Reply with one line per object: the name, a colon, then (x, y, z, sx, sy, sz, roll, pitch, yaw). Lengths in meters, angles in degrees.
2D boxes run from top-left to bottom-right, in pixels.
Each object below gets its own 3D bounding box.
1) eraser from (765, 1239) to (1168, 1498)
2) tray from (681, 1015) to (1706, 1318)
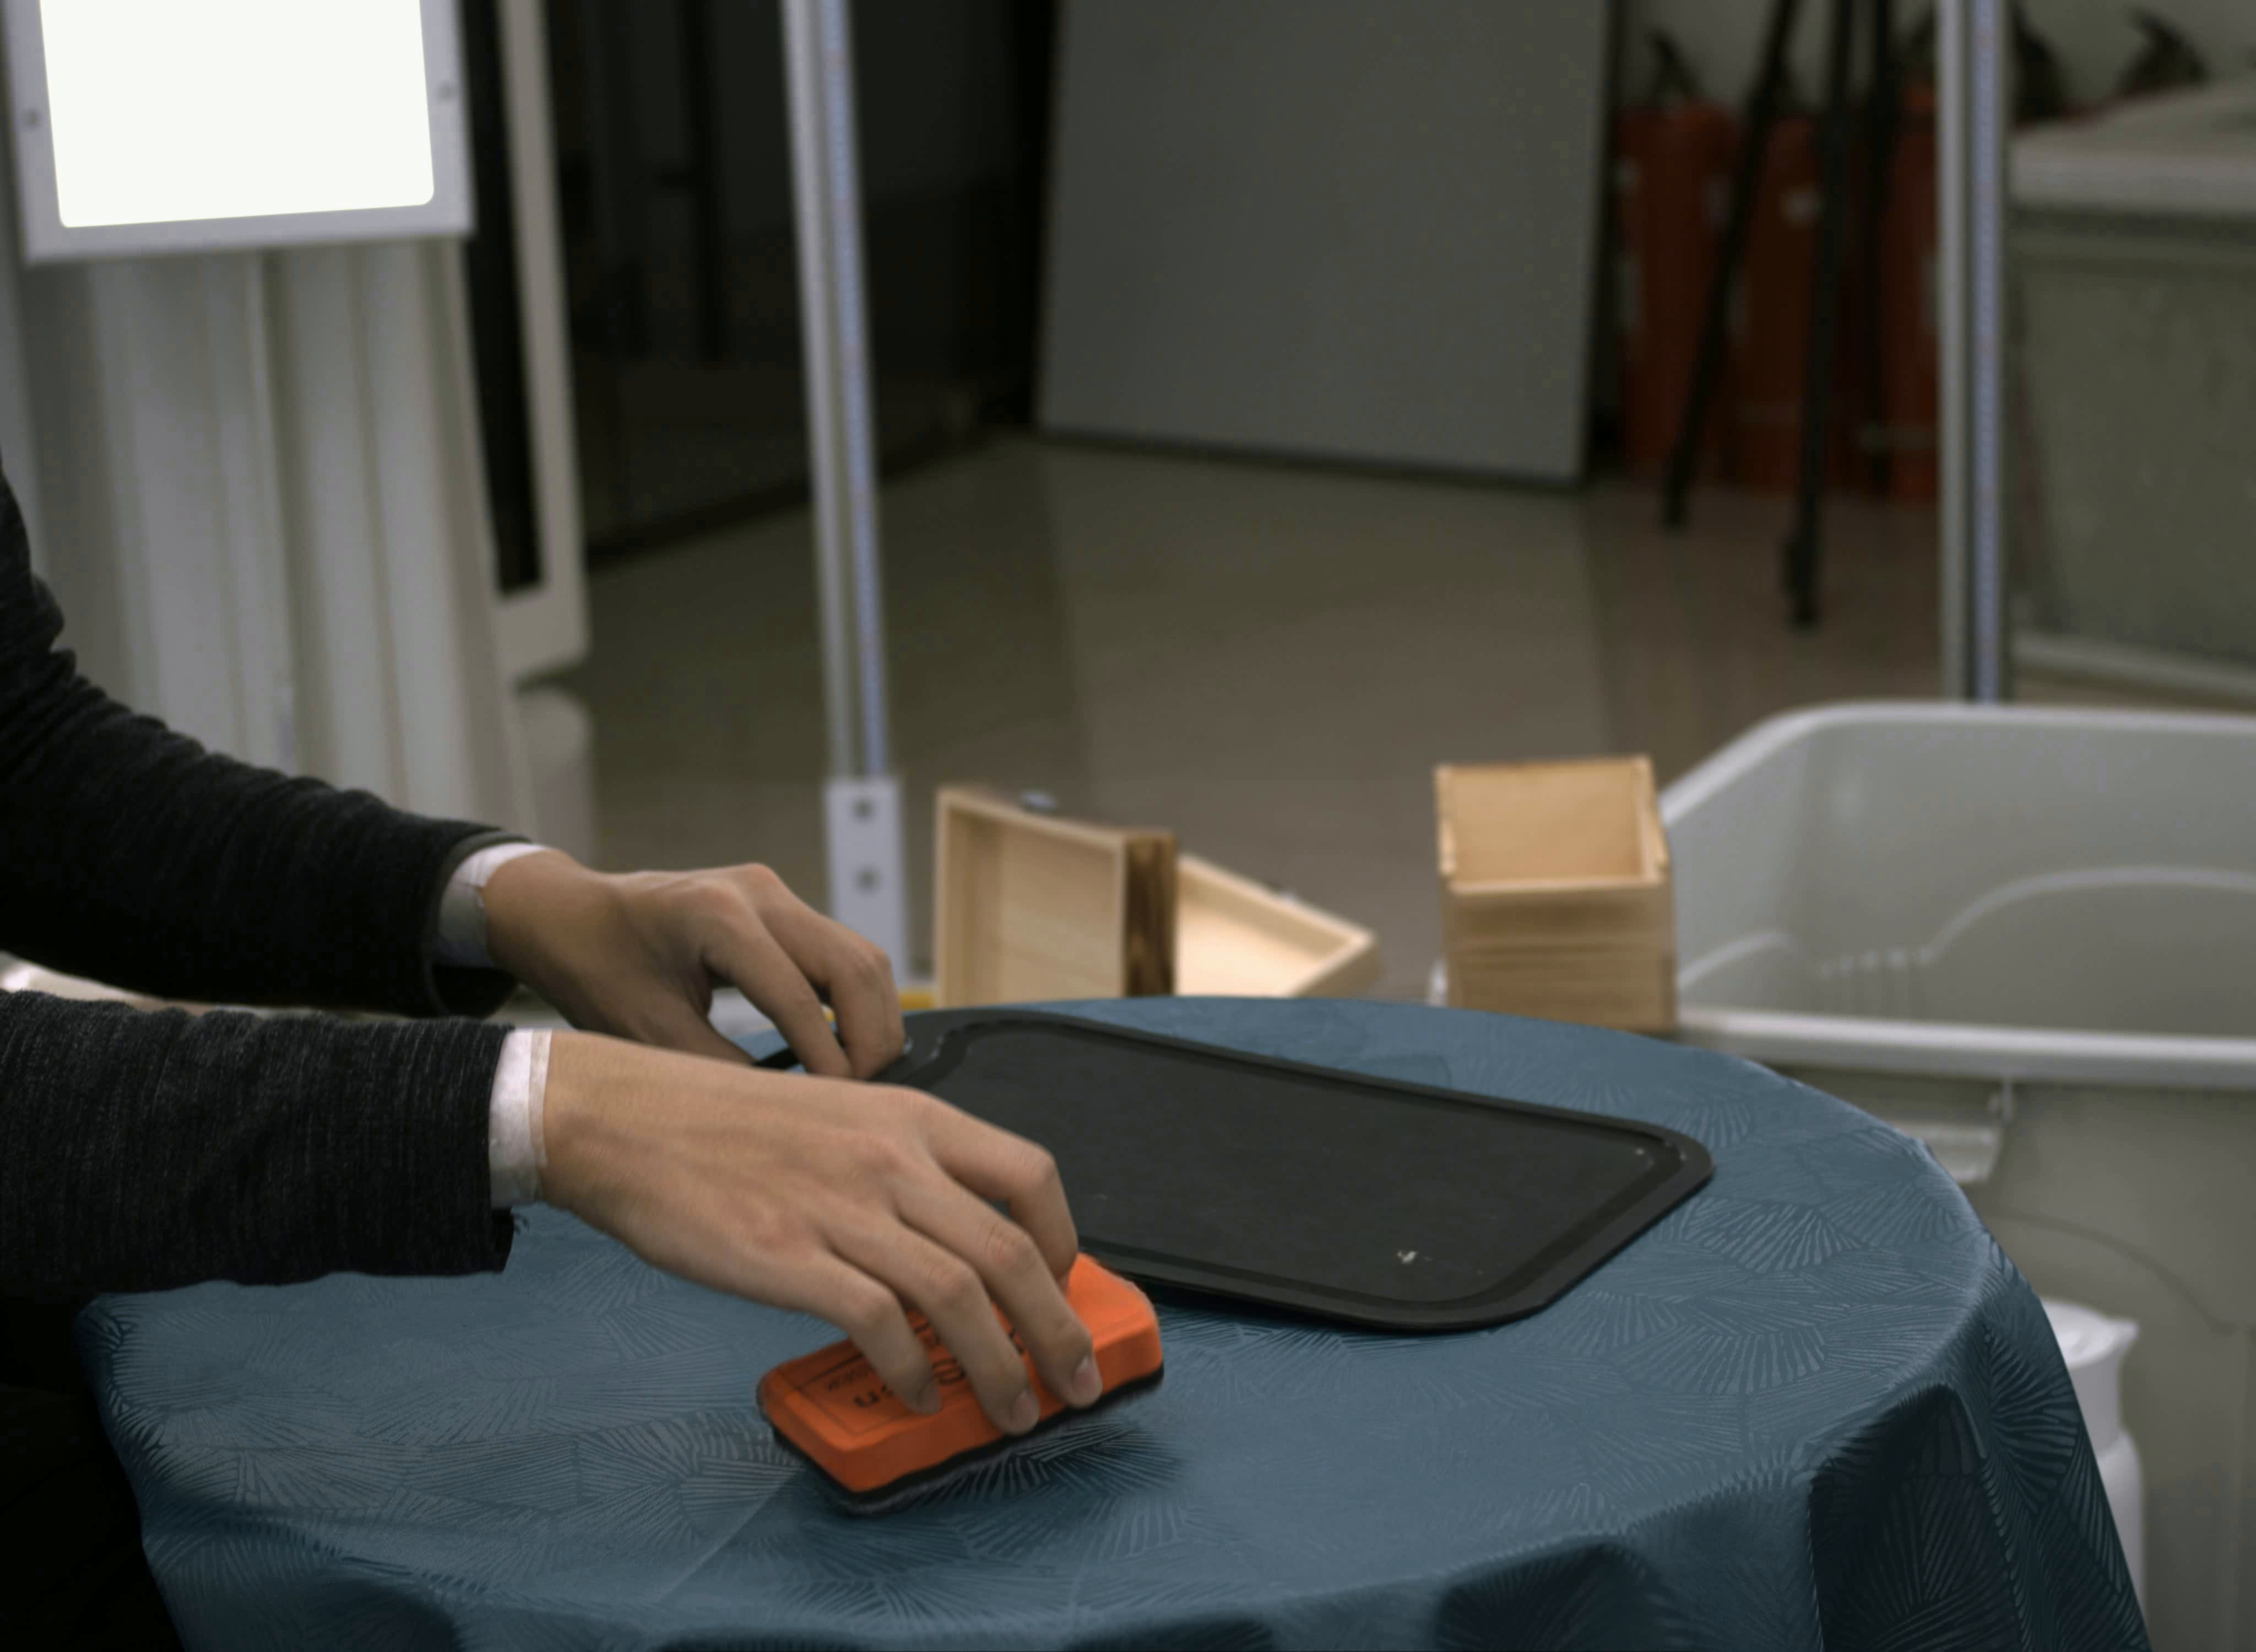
eraser: (-0.046, 0.153, 1.535, 0.106, 0.023, 0.059, -21, 26, -24)
tray: (0.014, 0.106, 1.761, 0.327, 0.010, 0.208, 9, 18, 29)
